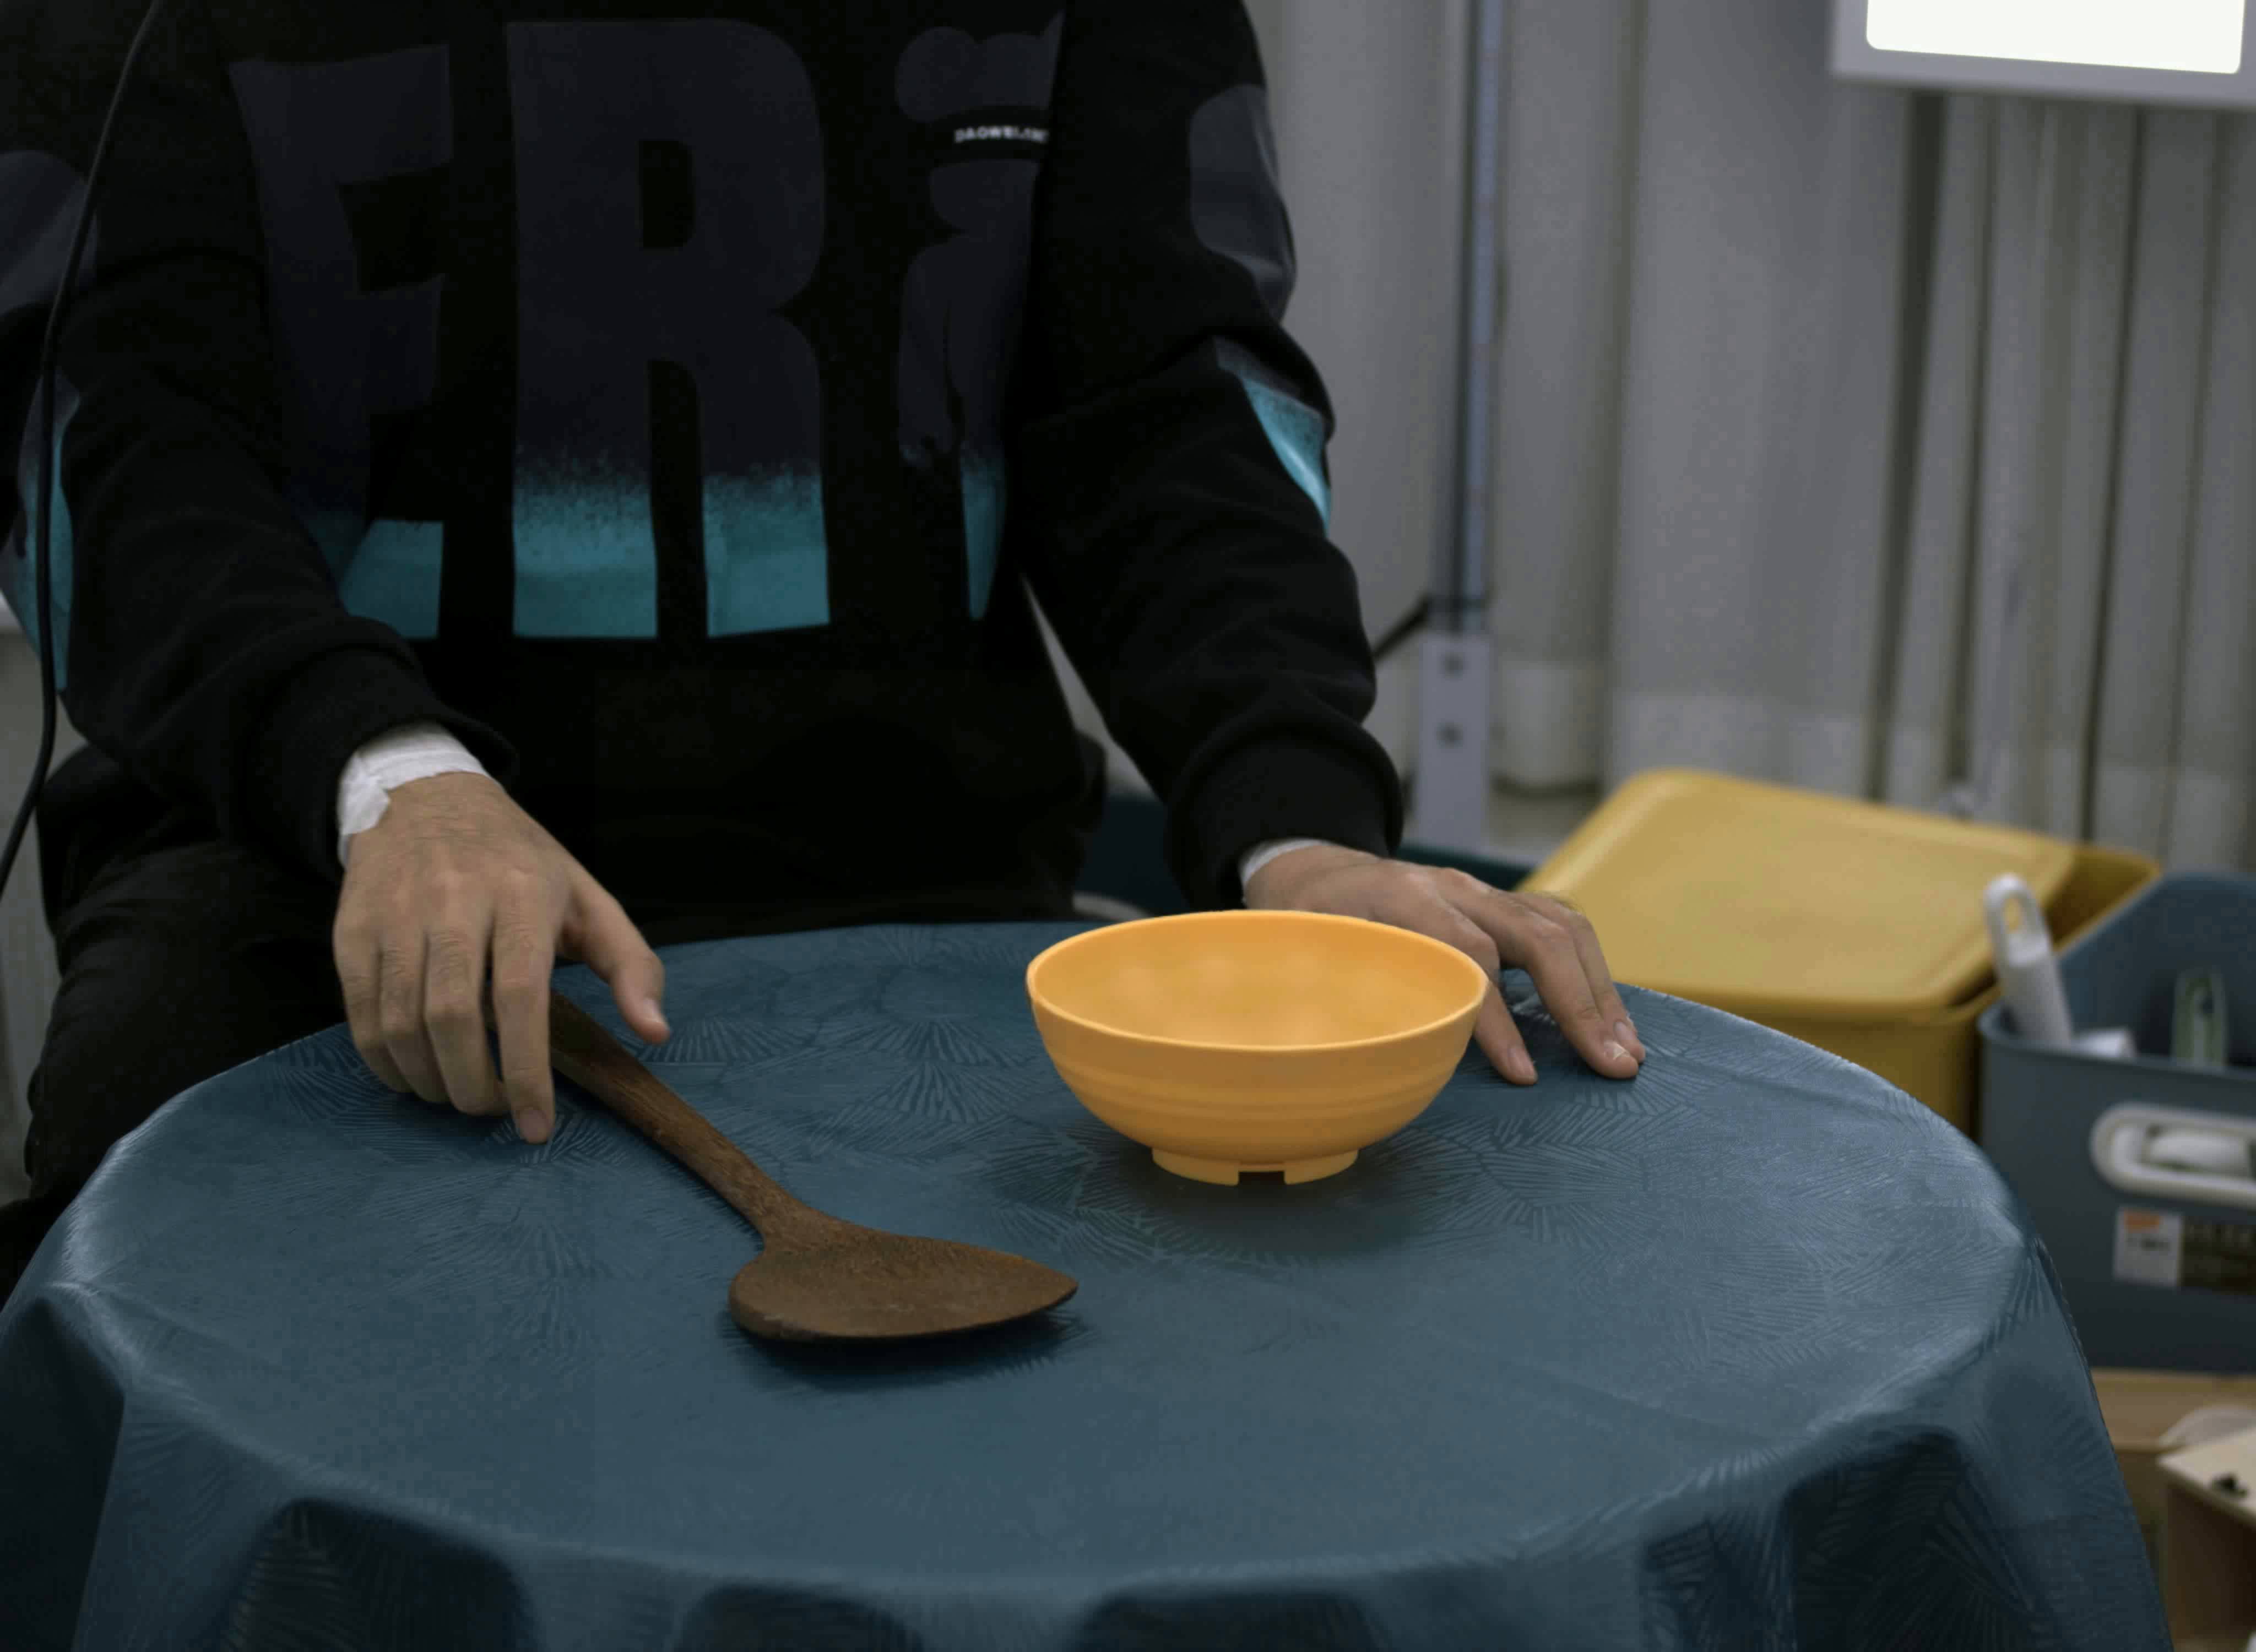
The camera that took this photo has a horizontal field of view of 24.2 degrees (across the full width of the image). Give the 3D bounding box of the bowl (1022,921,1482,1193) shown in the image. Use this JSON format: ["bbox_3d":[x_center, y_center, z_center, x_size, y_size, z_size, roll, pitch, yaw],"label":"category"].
[{"bbox_3d":[0.038,0.077,1.654,0.145,0.060,0.144,3,14,0],"label":"bowl"}]

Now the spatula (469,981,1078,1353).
[{"bbox_3d":[-0.133,0.100,1.640,0.096,0.016,0.381,-7,17,-26],"label":"spatula"}]
